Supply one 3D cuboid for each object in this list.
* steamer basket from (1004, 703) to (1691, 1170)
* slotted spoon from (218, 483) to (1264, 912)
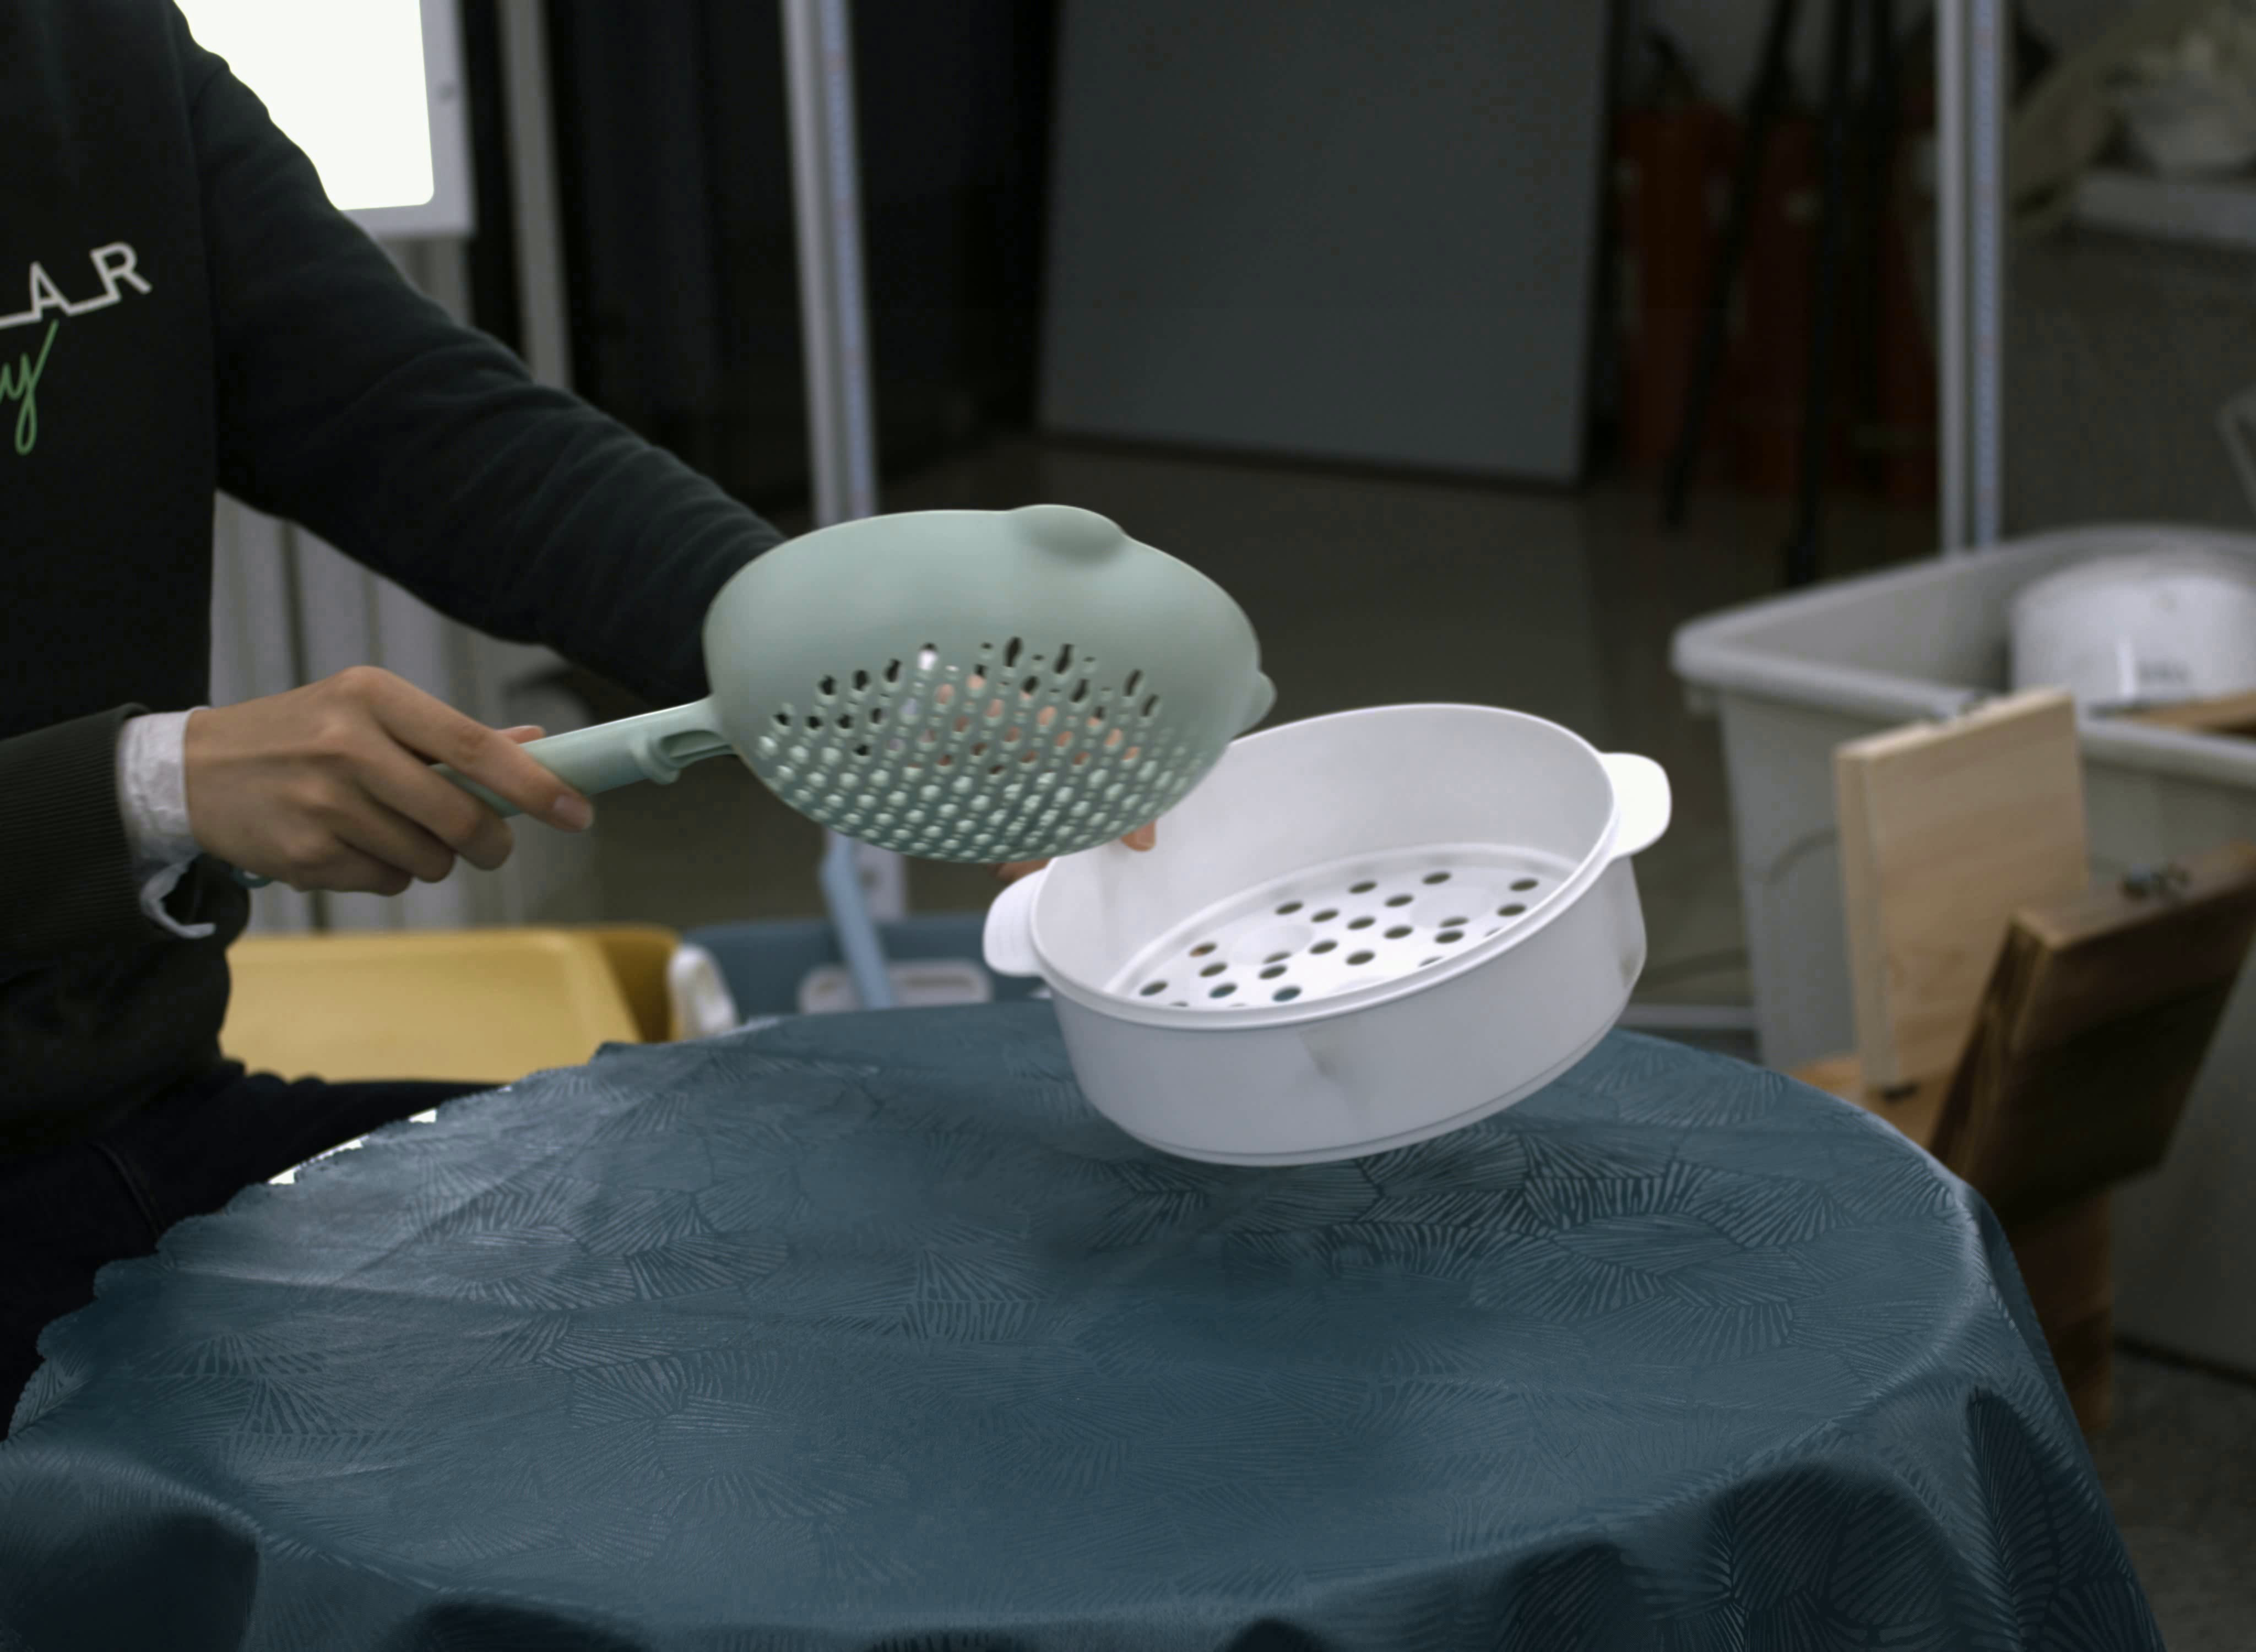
[{"bbox_3d":[0.077,0.036,1.749,0.229,0.069,0.202,-13,25,9],"label":"steamer basket"},{"bbox_3d":[-0.133,-0.024,1.678,0.360,0.076,0.167,-6,-30,30],"label":"slotted spoon"}]
